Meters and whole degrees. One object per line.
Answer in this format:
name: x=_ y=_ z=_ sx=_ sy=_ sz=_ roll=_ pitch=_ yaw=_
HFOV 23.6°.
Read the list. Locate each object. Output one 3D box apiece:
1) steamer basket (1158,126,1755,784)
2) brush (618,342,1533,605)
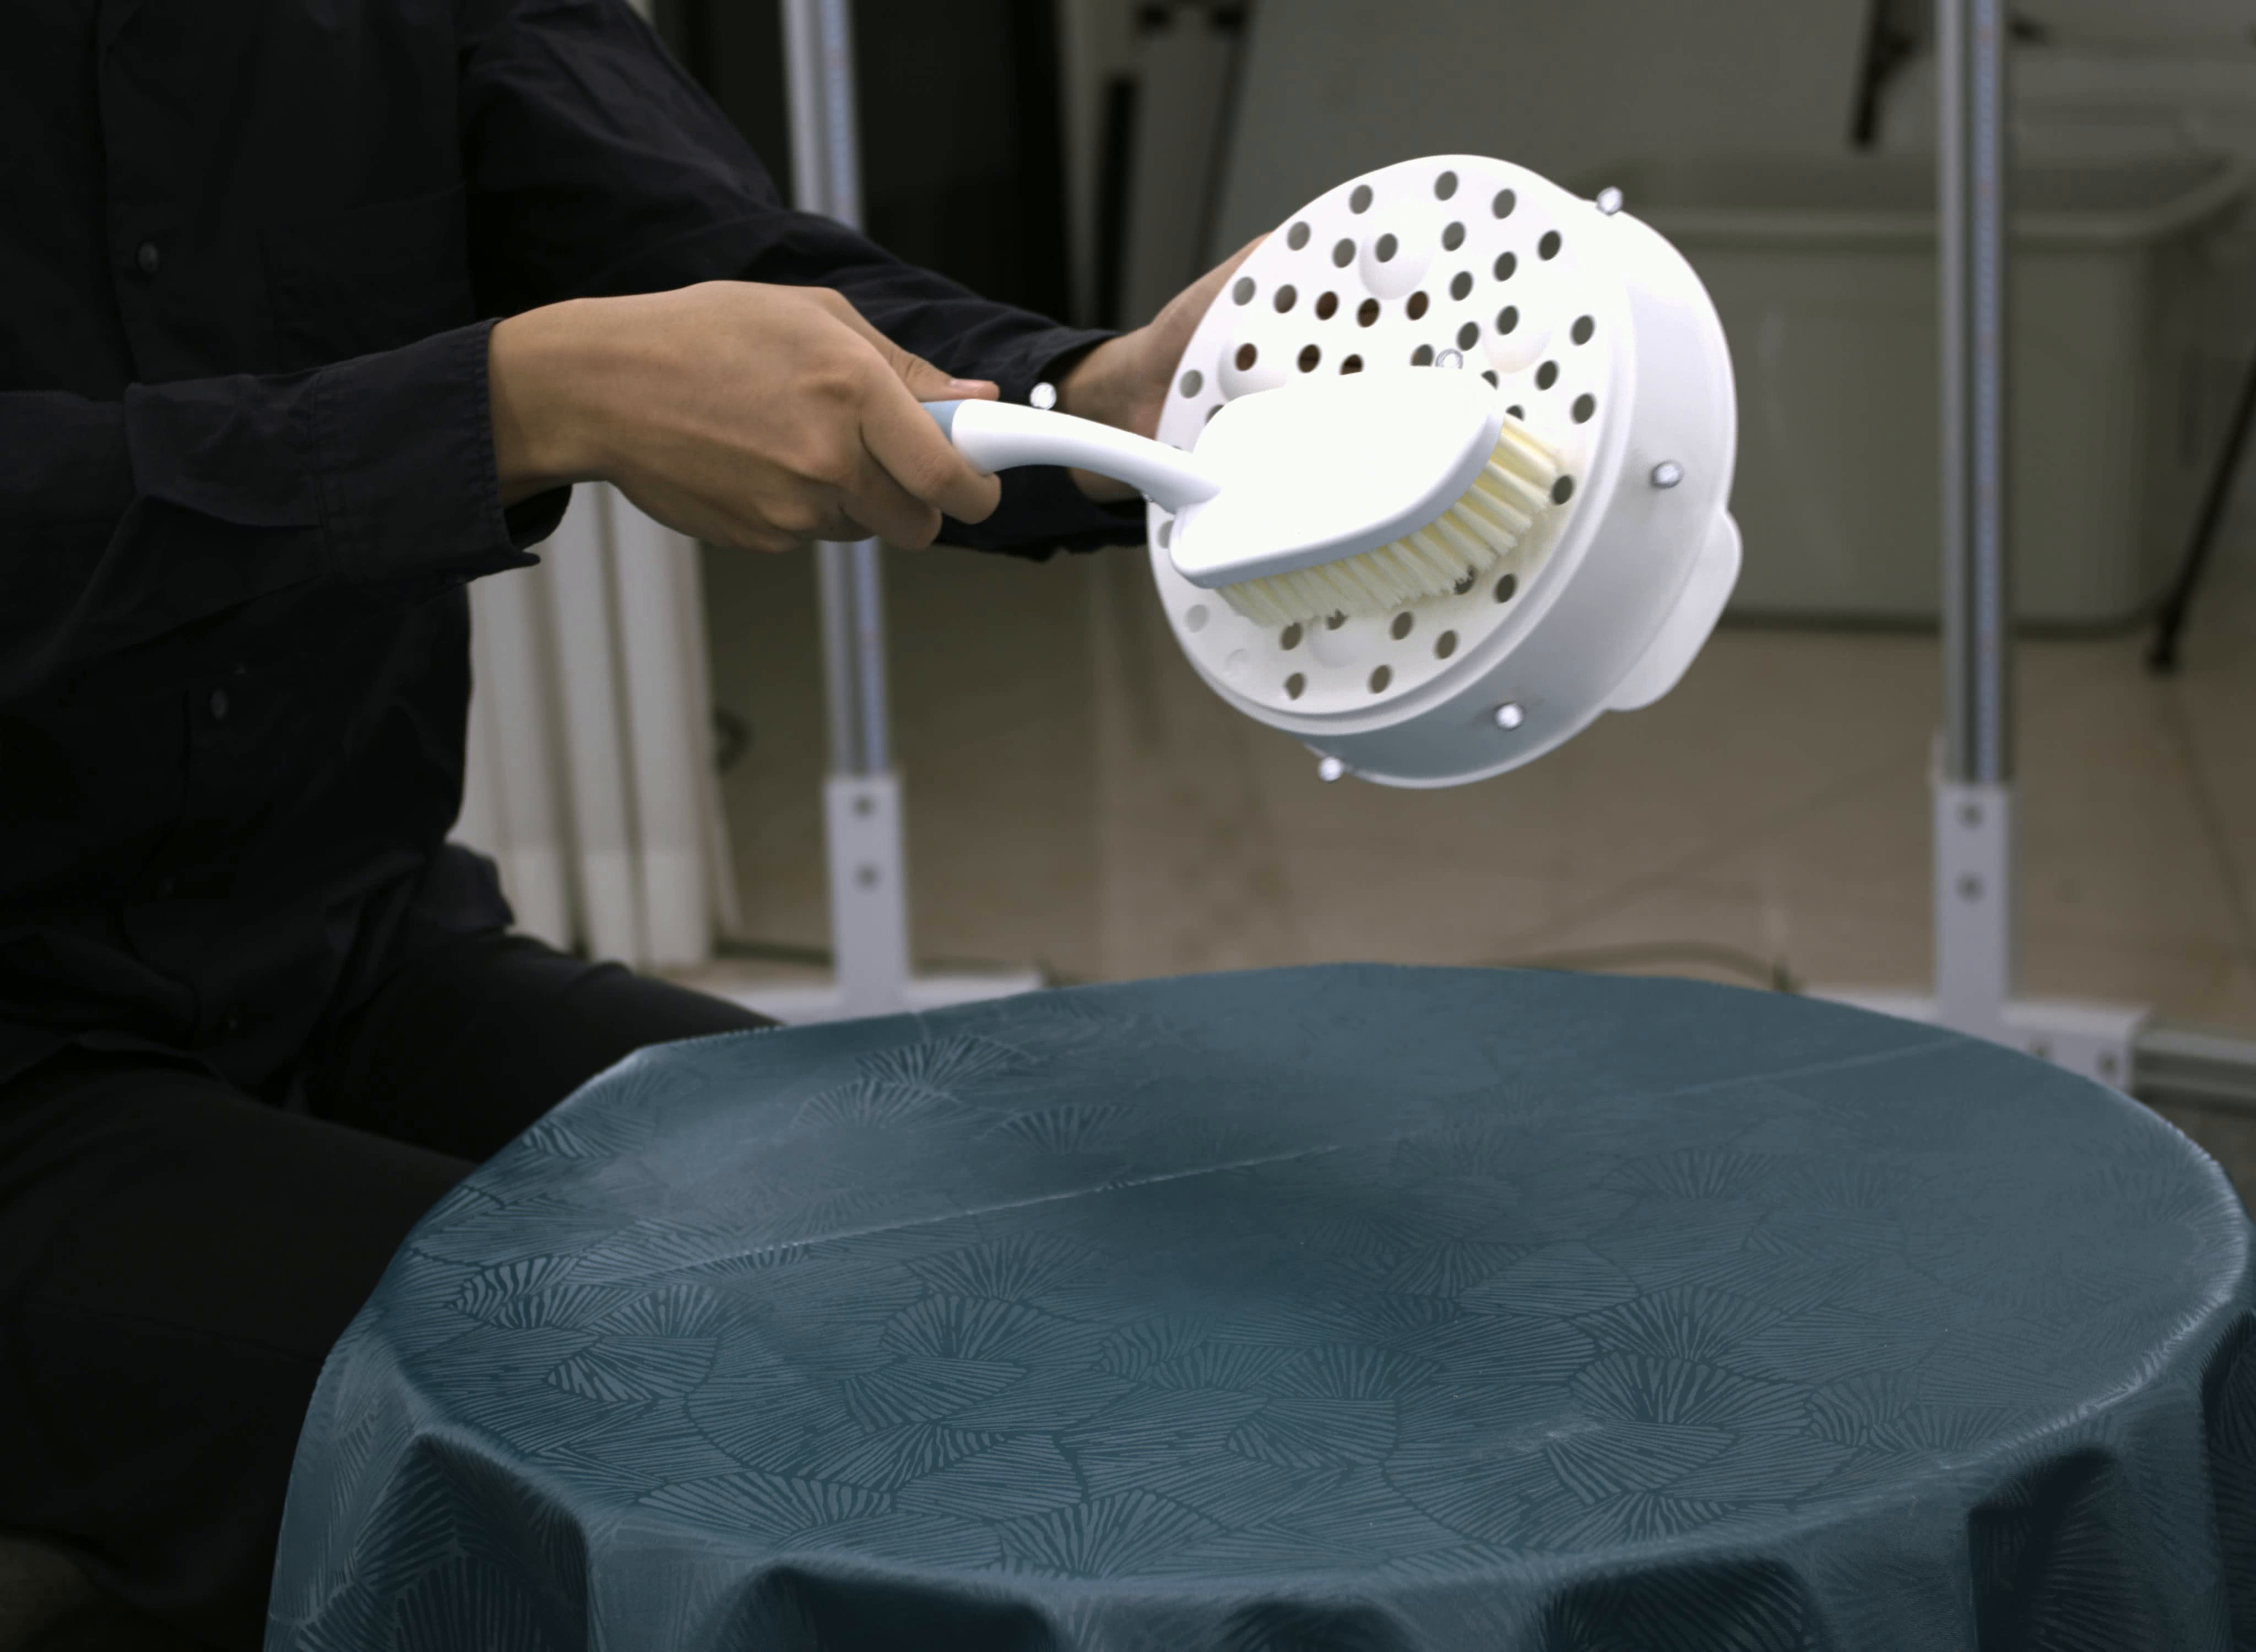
steamer basket: x=0.098 y=-0.119 z=1.707 sx=0.068 sy=0.203 sz=0.233 roll=23 pitch=9 yaw=-45
brush: x=-0.015 y=-0.112 z=1.714 sx=0.327 sy=0.085 sz=0.082 roll=-1 pitch=24 yaw=32
